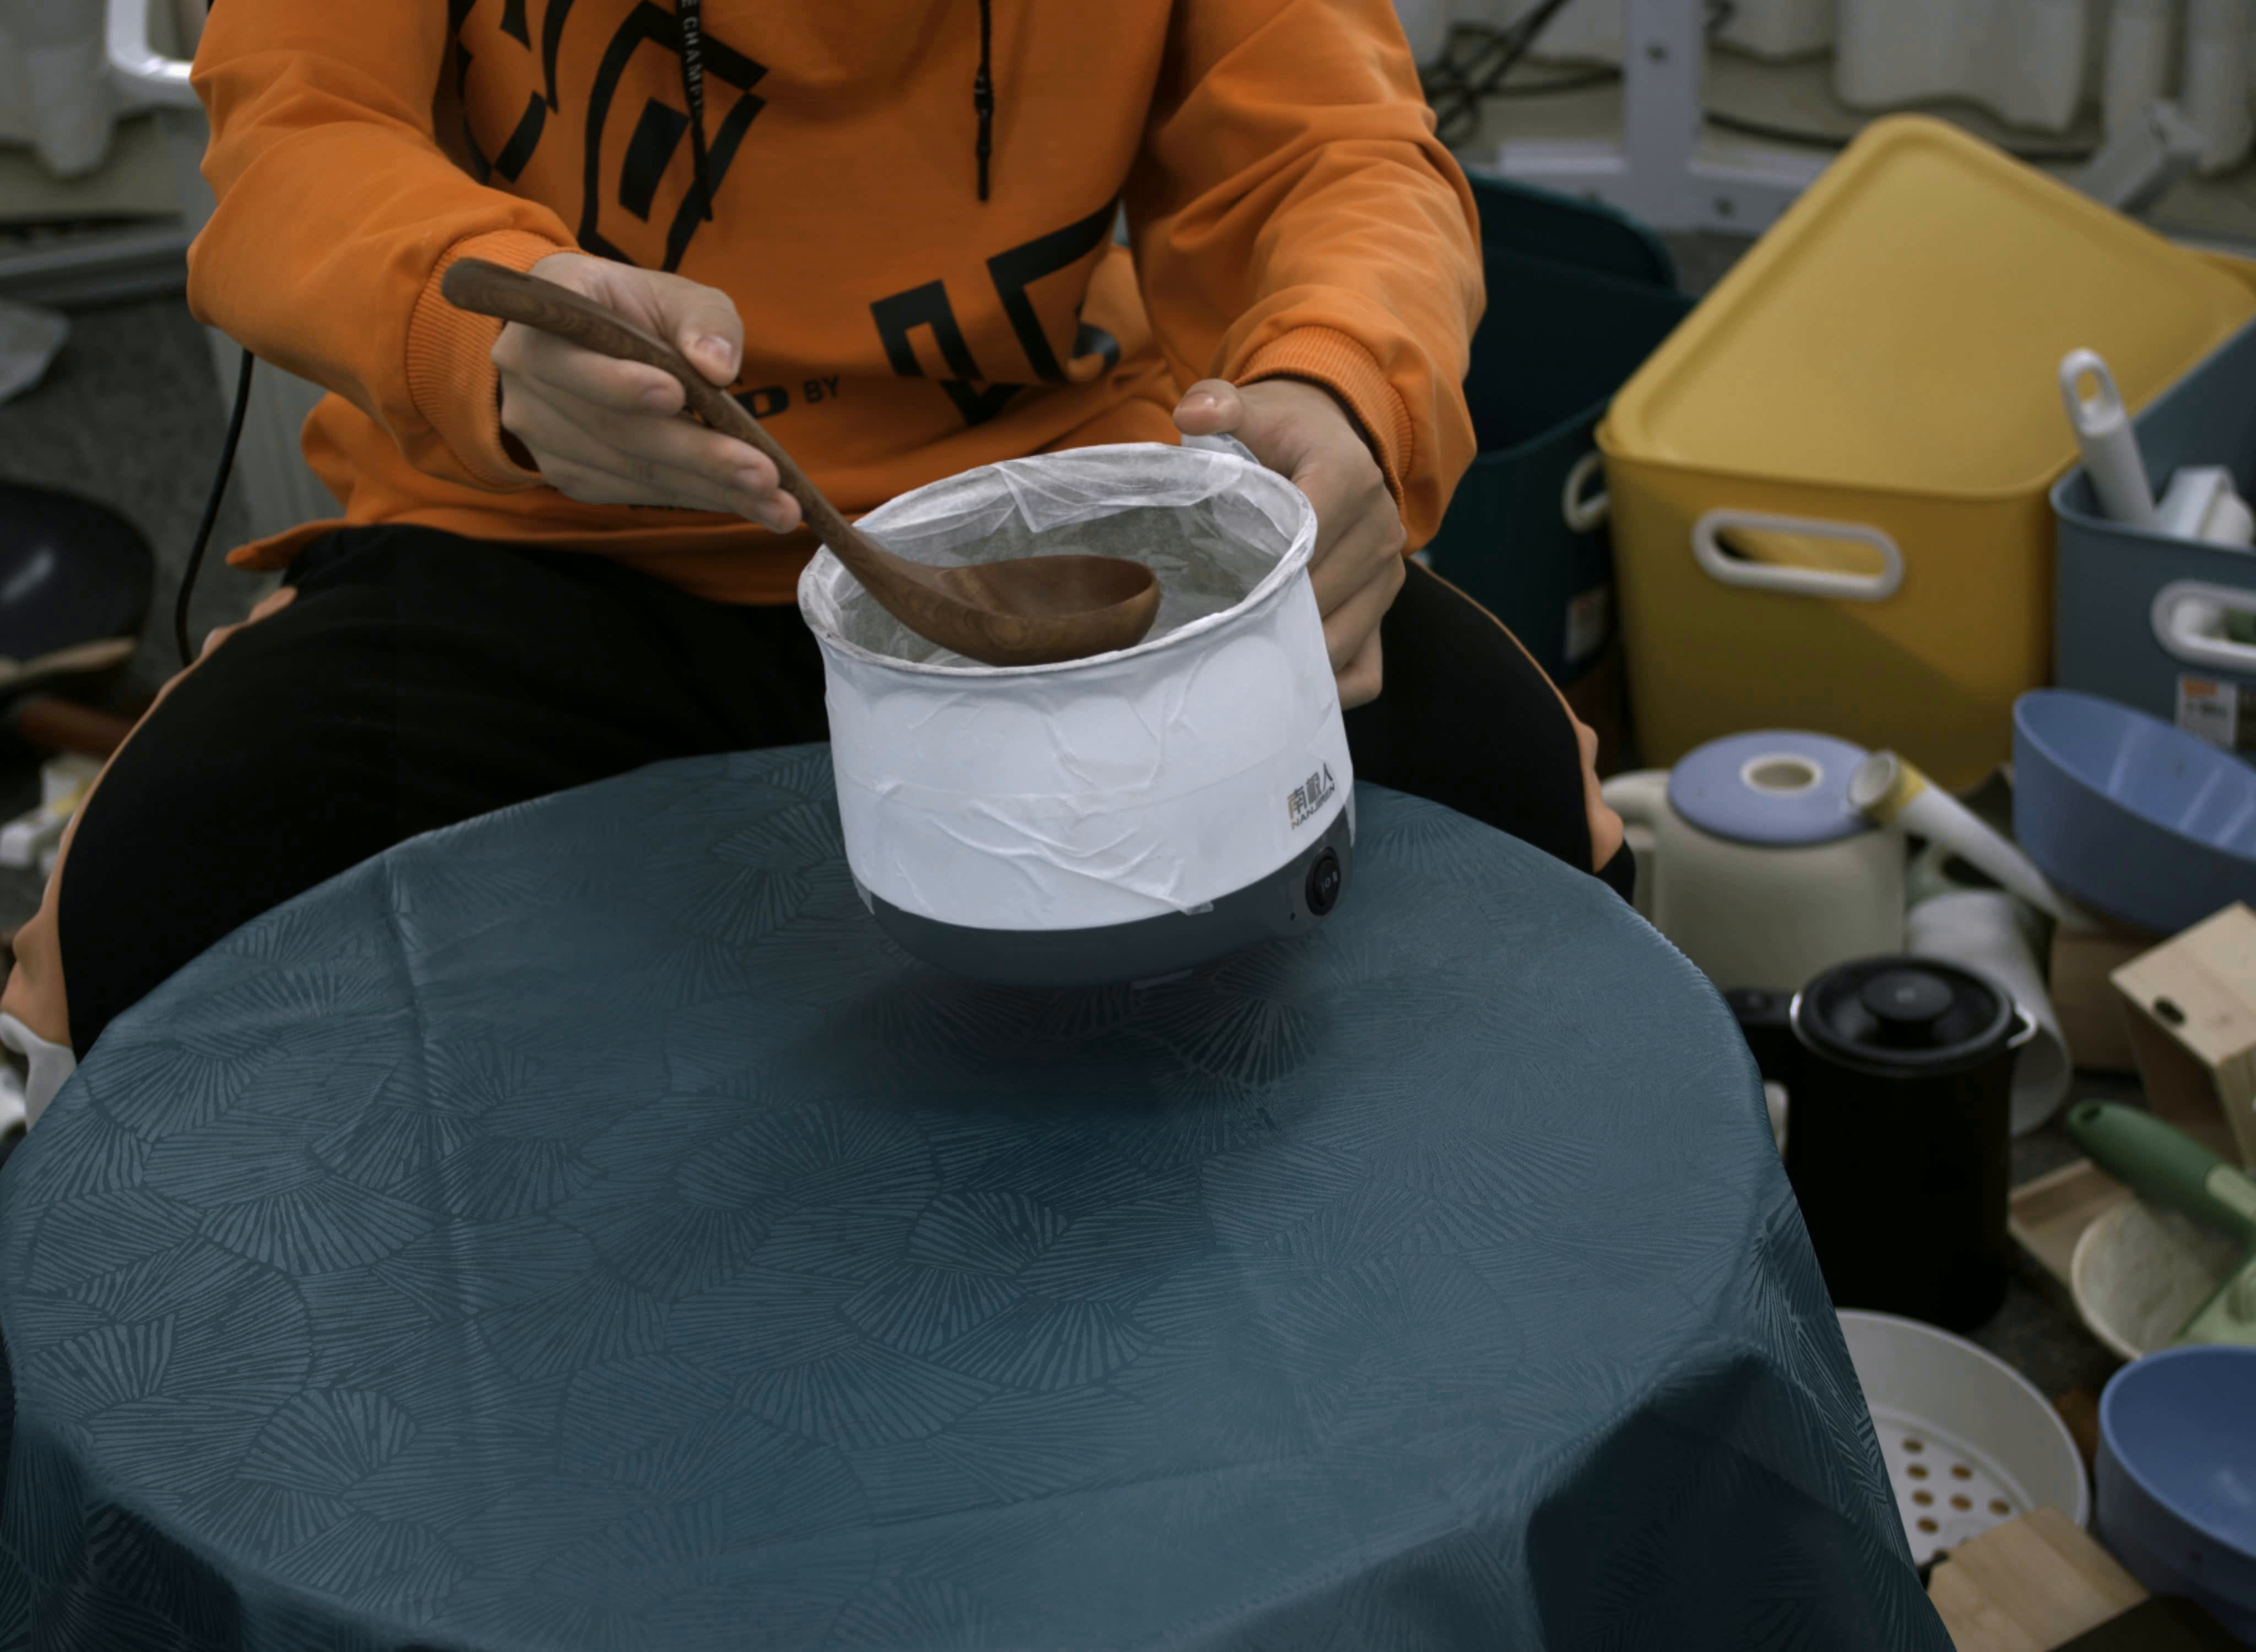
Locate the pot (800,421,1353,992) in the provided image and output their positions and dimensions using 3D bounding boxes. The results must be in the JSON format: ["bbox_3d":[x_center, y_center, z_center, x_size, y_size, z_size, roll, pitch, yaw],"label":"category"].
[{"bbox_3d":[-0.002,-0.048,1.939,0.177,0.135,0.237,7,30,29],"label":"pot"}]

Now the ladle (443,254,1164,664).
[{"bbox_3d":[-0.102,-0.127,1.833,0.259,0.065,0.077,36,3,-18],"label":"ladle"}]
